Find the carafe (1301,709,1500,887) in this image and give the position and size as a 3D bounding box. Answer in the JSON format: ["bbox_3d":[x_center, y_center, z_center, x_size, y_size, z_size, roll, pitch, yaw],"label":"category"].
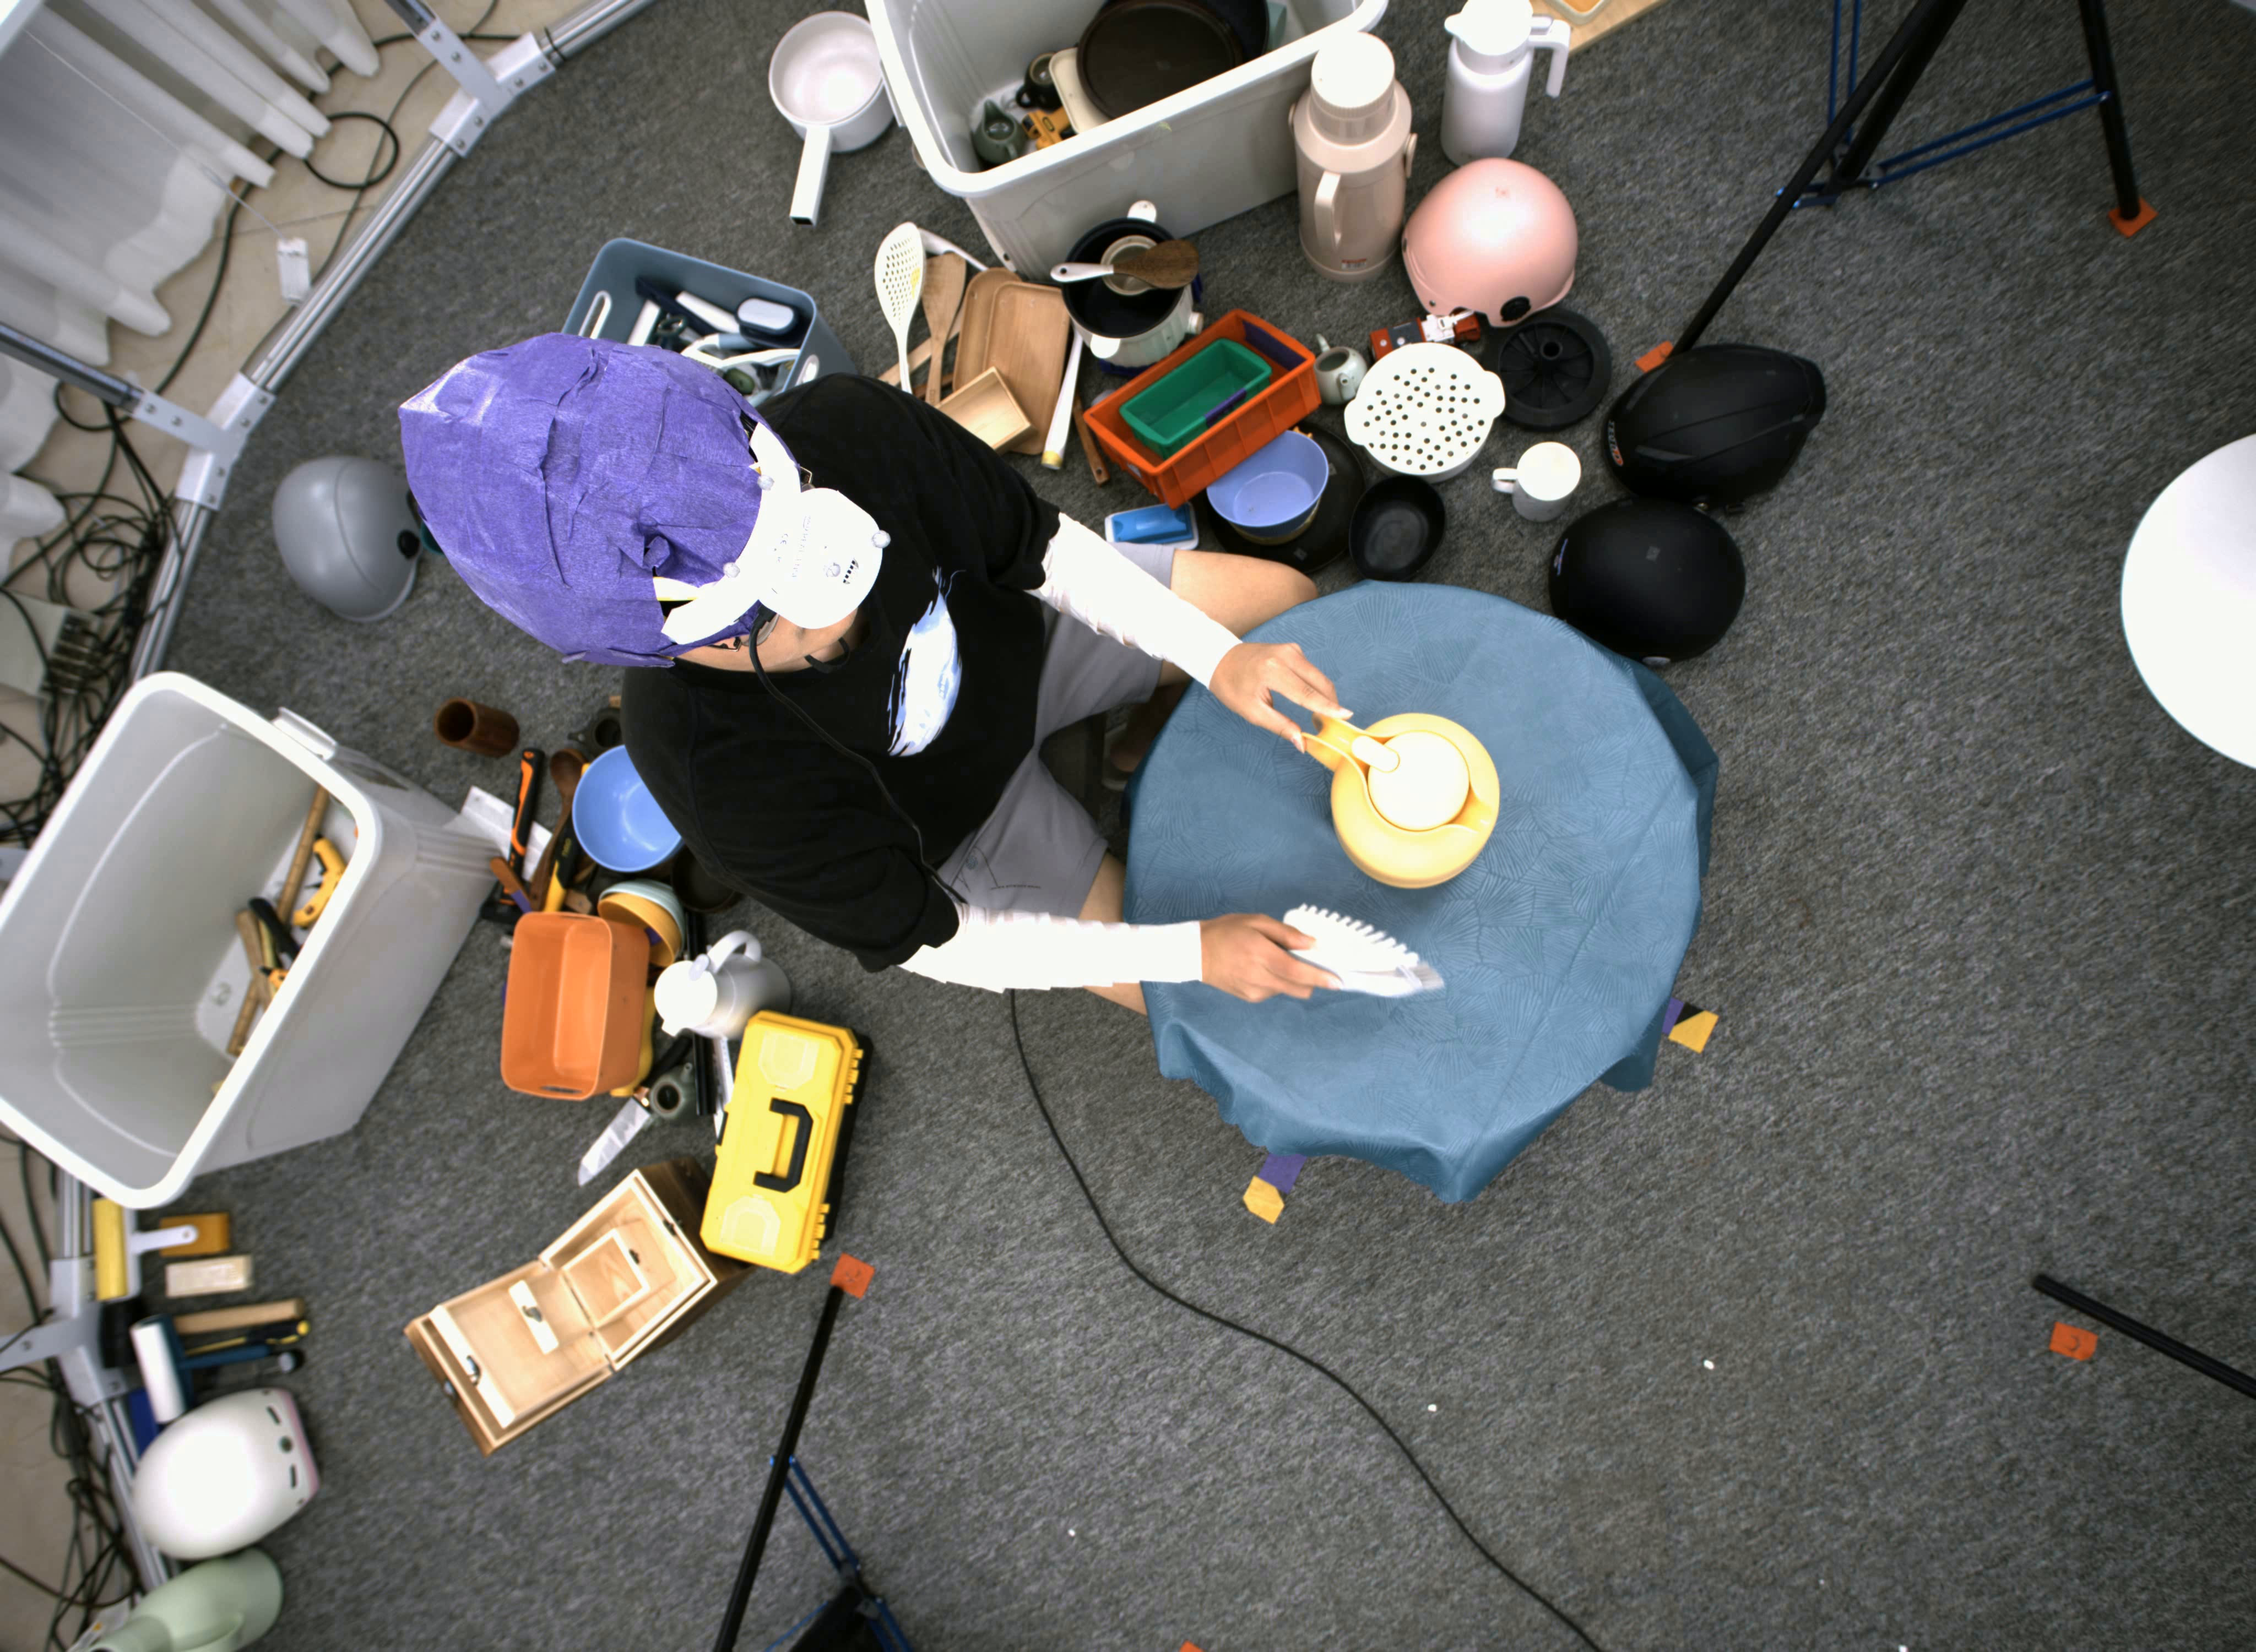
[{"bbox_3d":[0.261,-0.041,1.335,0.202,0.261,0.163,35,90,10],"label":"carafe"}]

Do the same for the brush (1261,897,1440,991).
[{"bbox_3d":[0.205,0.124,1.336,0.175,0.093,0.062,19,119,41],"label":"brush"}]
